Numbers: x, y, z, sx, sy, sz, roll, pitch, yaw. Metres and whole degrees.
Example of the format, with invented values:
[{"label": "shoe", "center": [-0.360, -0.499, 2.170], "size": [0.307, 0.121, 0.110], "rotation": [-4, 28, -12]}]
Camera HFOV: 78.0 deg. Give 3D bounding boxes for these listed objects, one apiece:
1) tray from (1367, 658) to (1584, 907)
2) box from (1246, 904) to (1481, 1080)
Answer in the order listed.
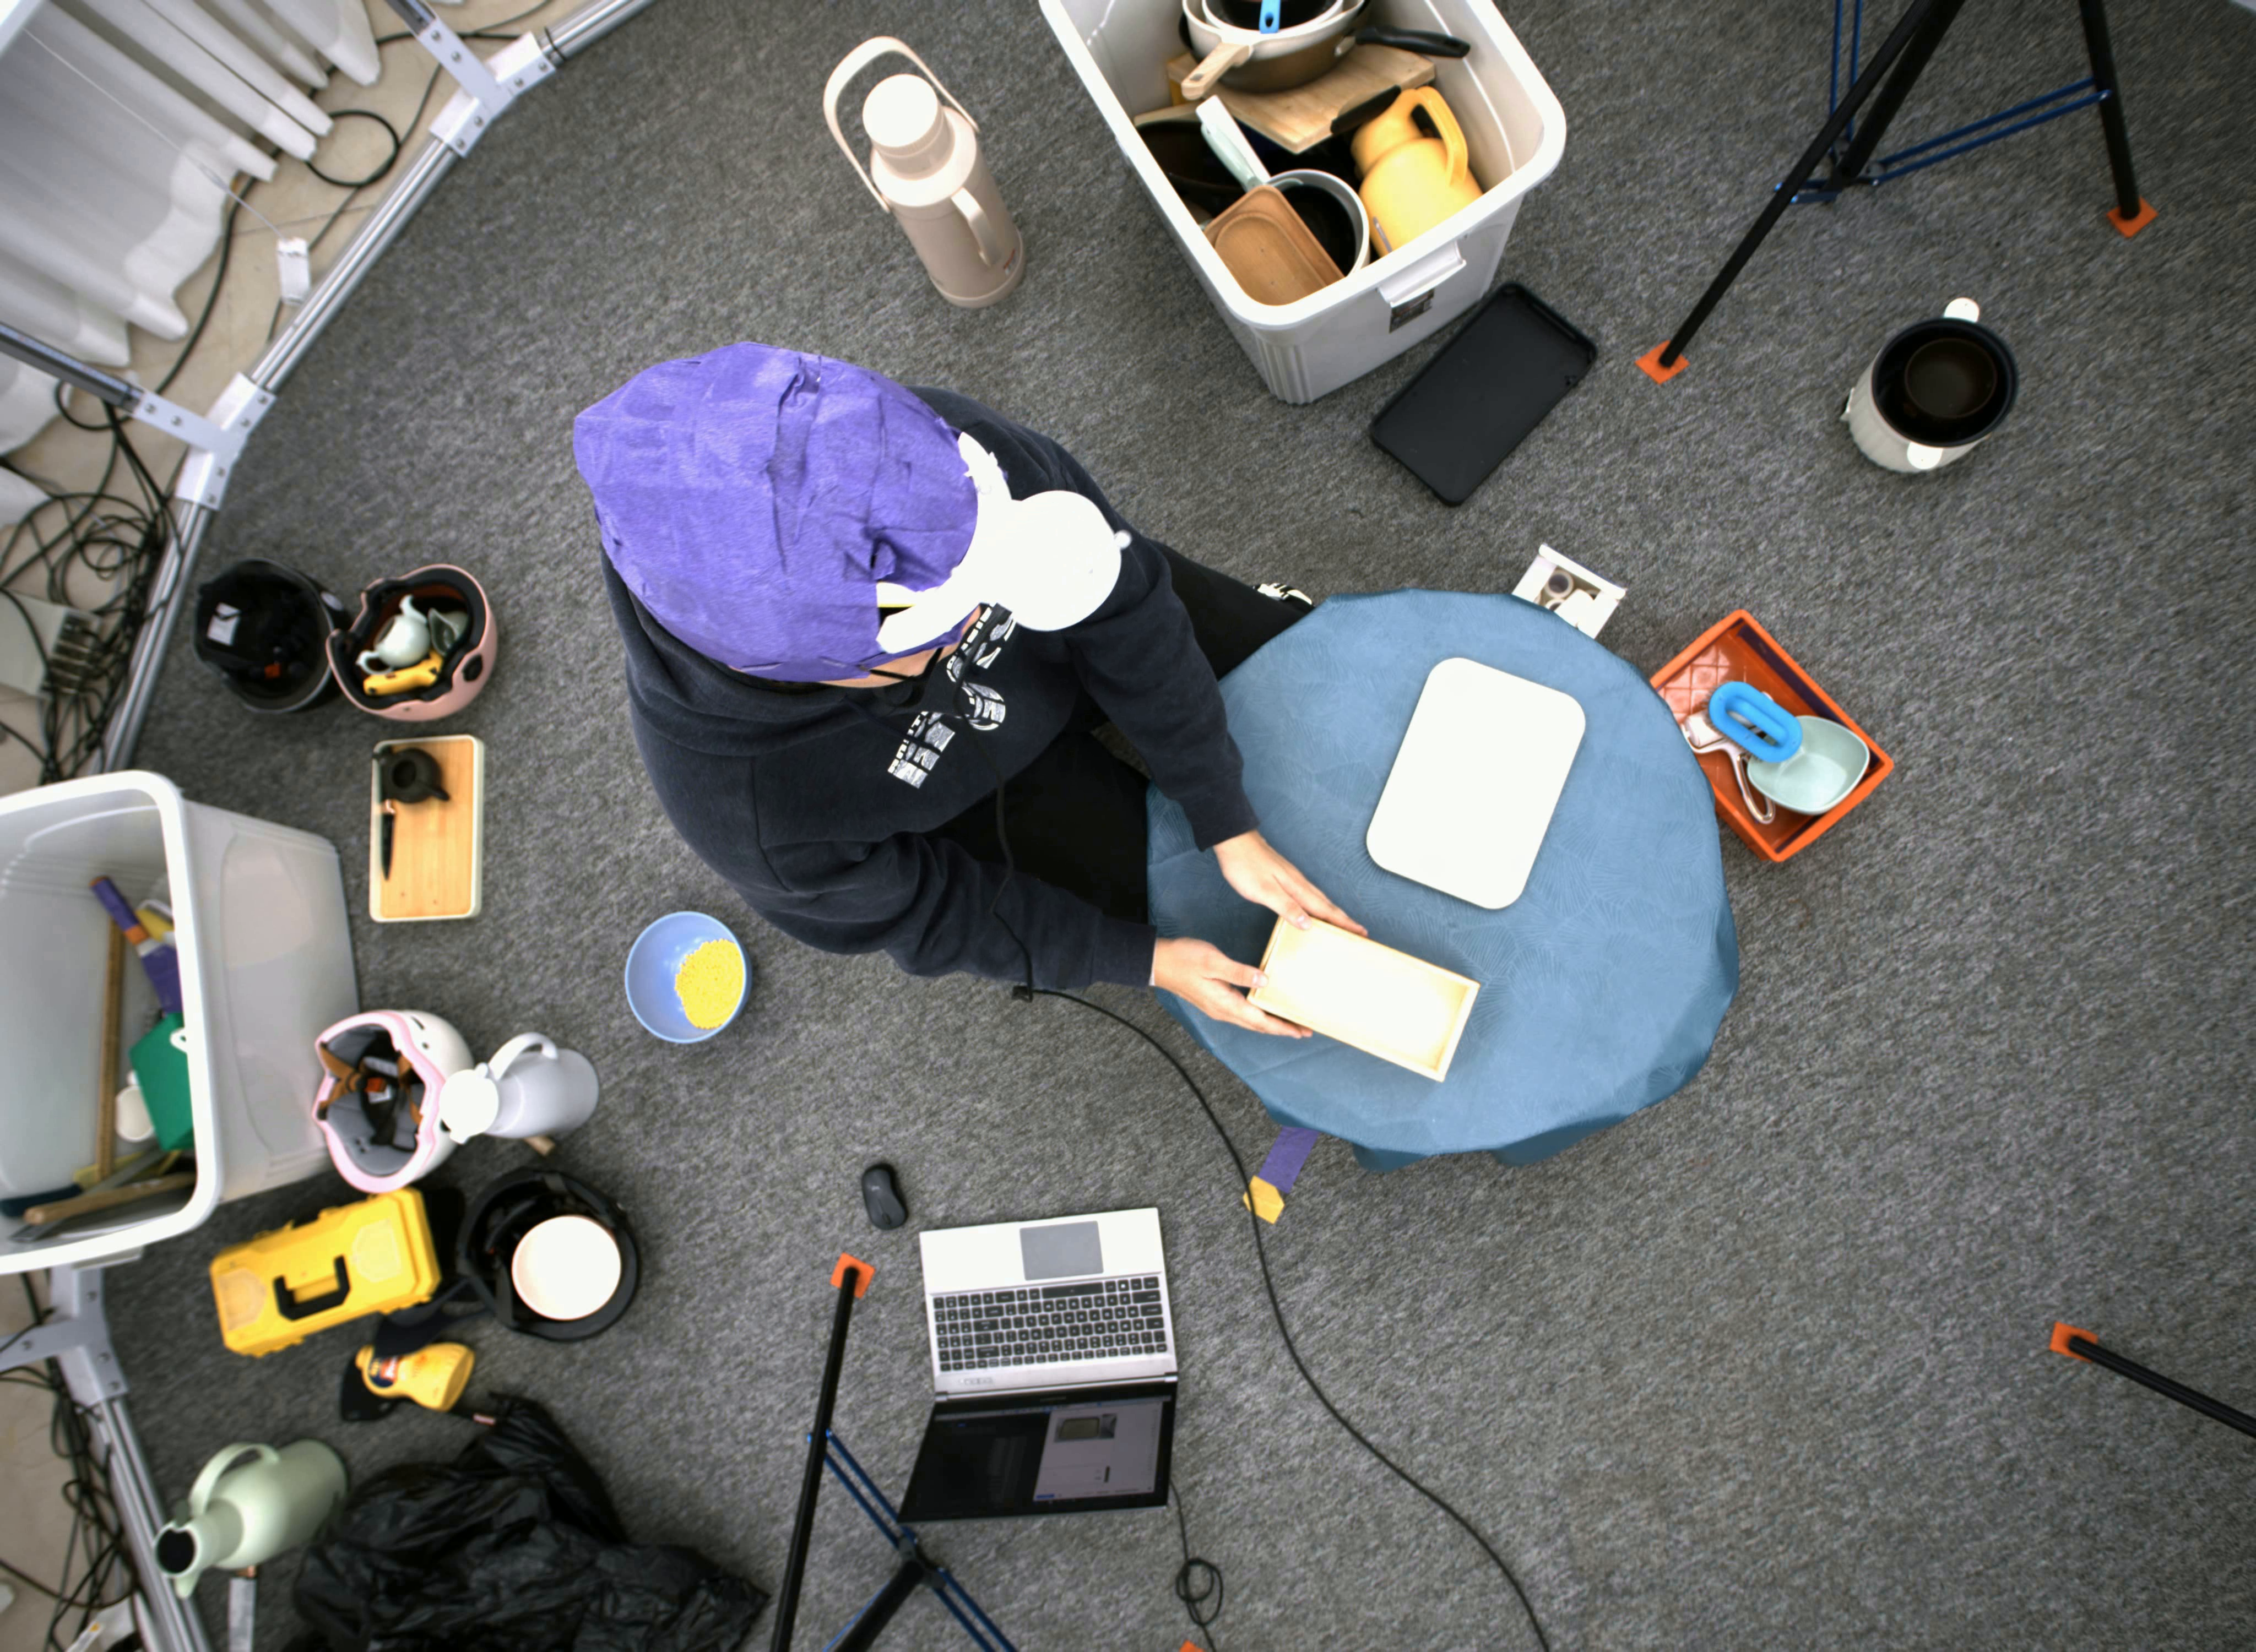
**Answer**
[{"label": "tray", "center": [0.364, -0.048, 1.441], "size": [0.171, 0.017, 0.239], "rotation": [22, 91, 12]}, {"label": "box", "center": [0.240, 0.168, 1.420], "size": [0.211, 0.080, 0.107], "rotation": [21, 89, 12]}]
